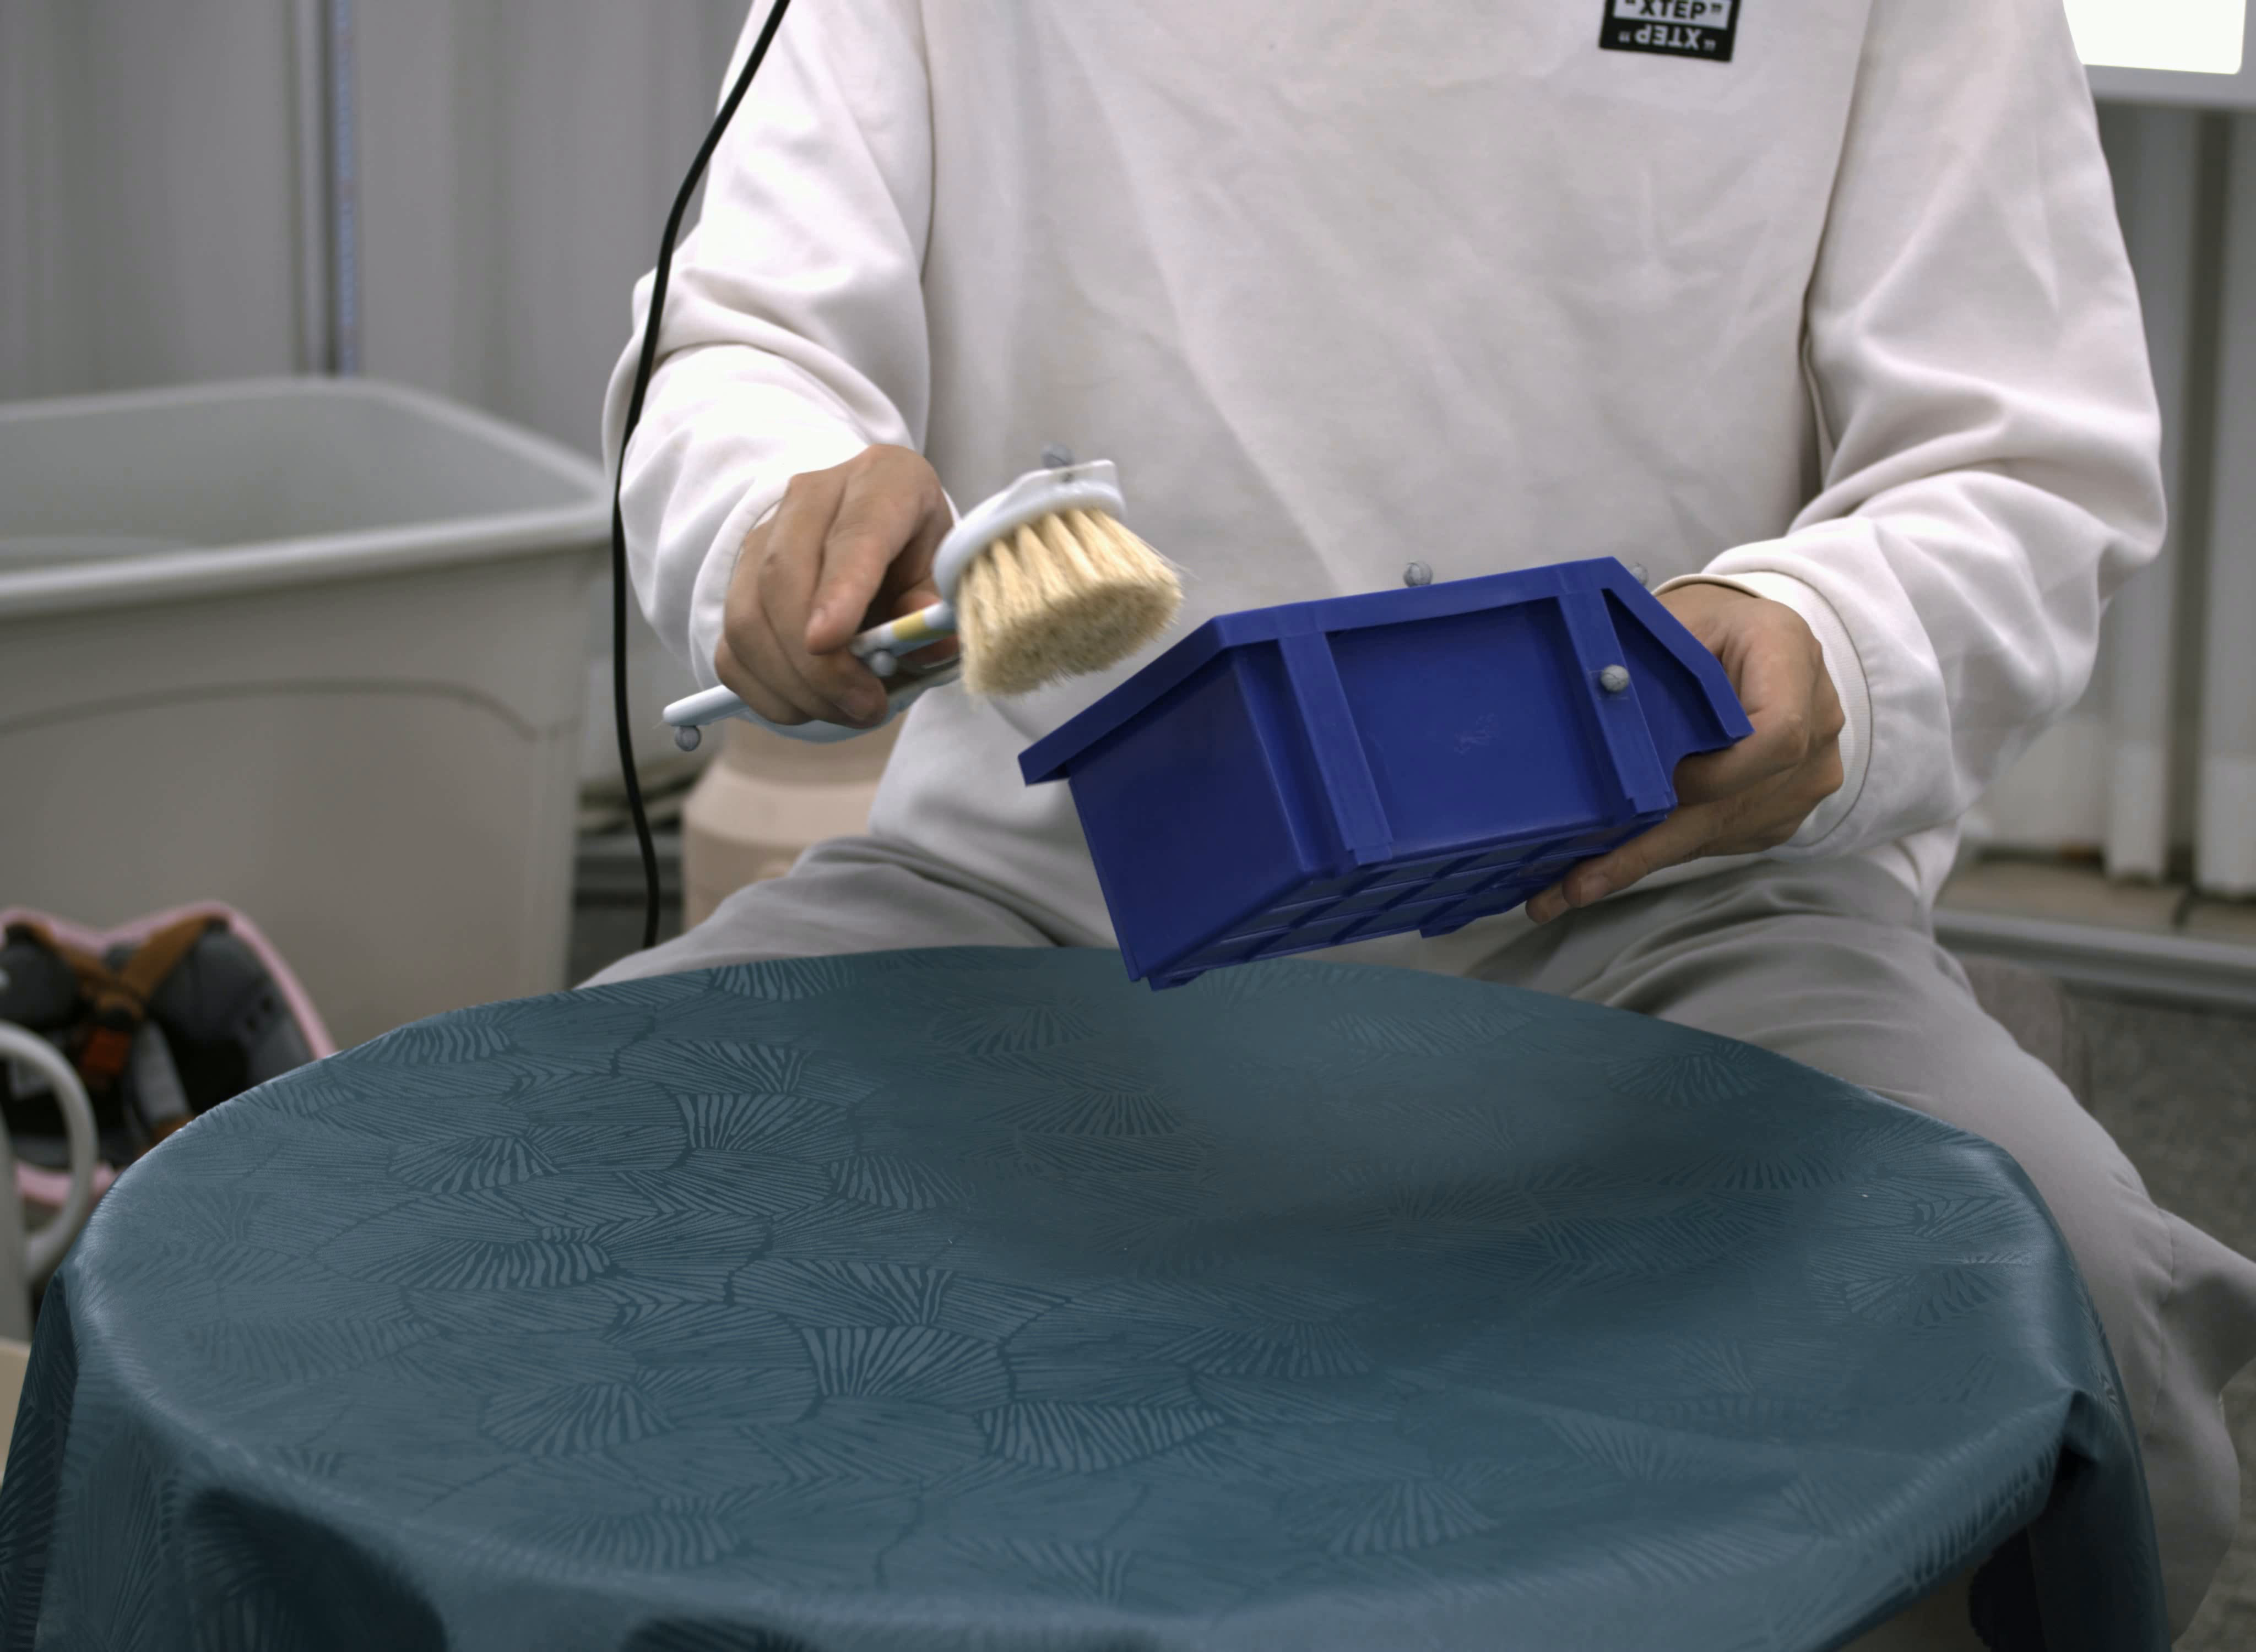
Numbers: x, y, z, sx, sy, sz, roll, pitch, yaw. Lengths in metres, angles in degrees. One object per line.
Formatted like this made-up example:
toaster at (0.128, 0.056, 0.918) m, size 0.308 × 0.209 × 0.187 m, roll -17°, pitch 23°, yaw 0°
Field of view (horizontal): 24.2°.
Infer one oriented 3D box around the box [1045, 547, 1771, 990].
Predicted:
box at (0.086, -0.018, 1.599) m, size 0.180 × 0.082 × 0.124 m, roll -13°, pitch -13°, yaw -34°

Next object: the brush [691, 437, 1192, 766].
brush at (-0.065, -0.043, 1.594) m, size 0.069 × 0.056 × 0.266 m, roll 2°, pitch -20°, yaw -30°
